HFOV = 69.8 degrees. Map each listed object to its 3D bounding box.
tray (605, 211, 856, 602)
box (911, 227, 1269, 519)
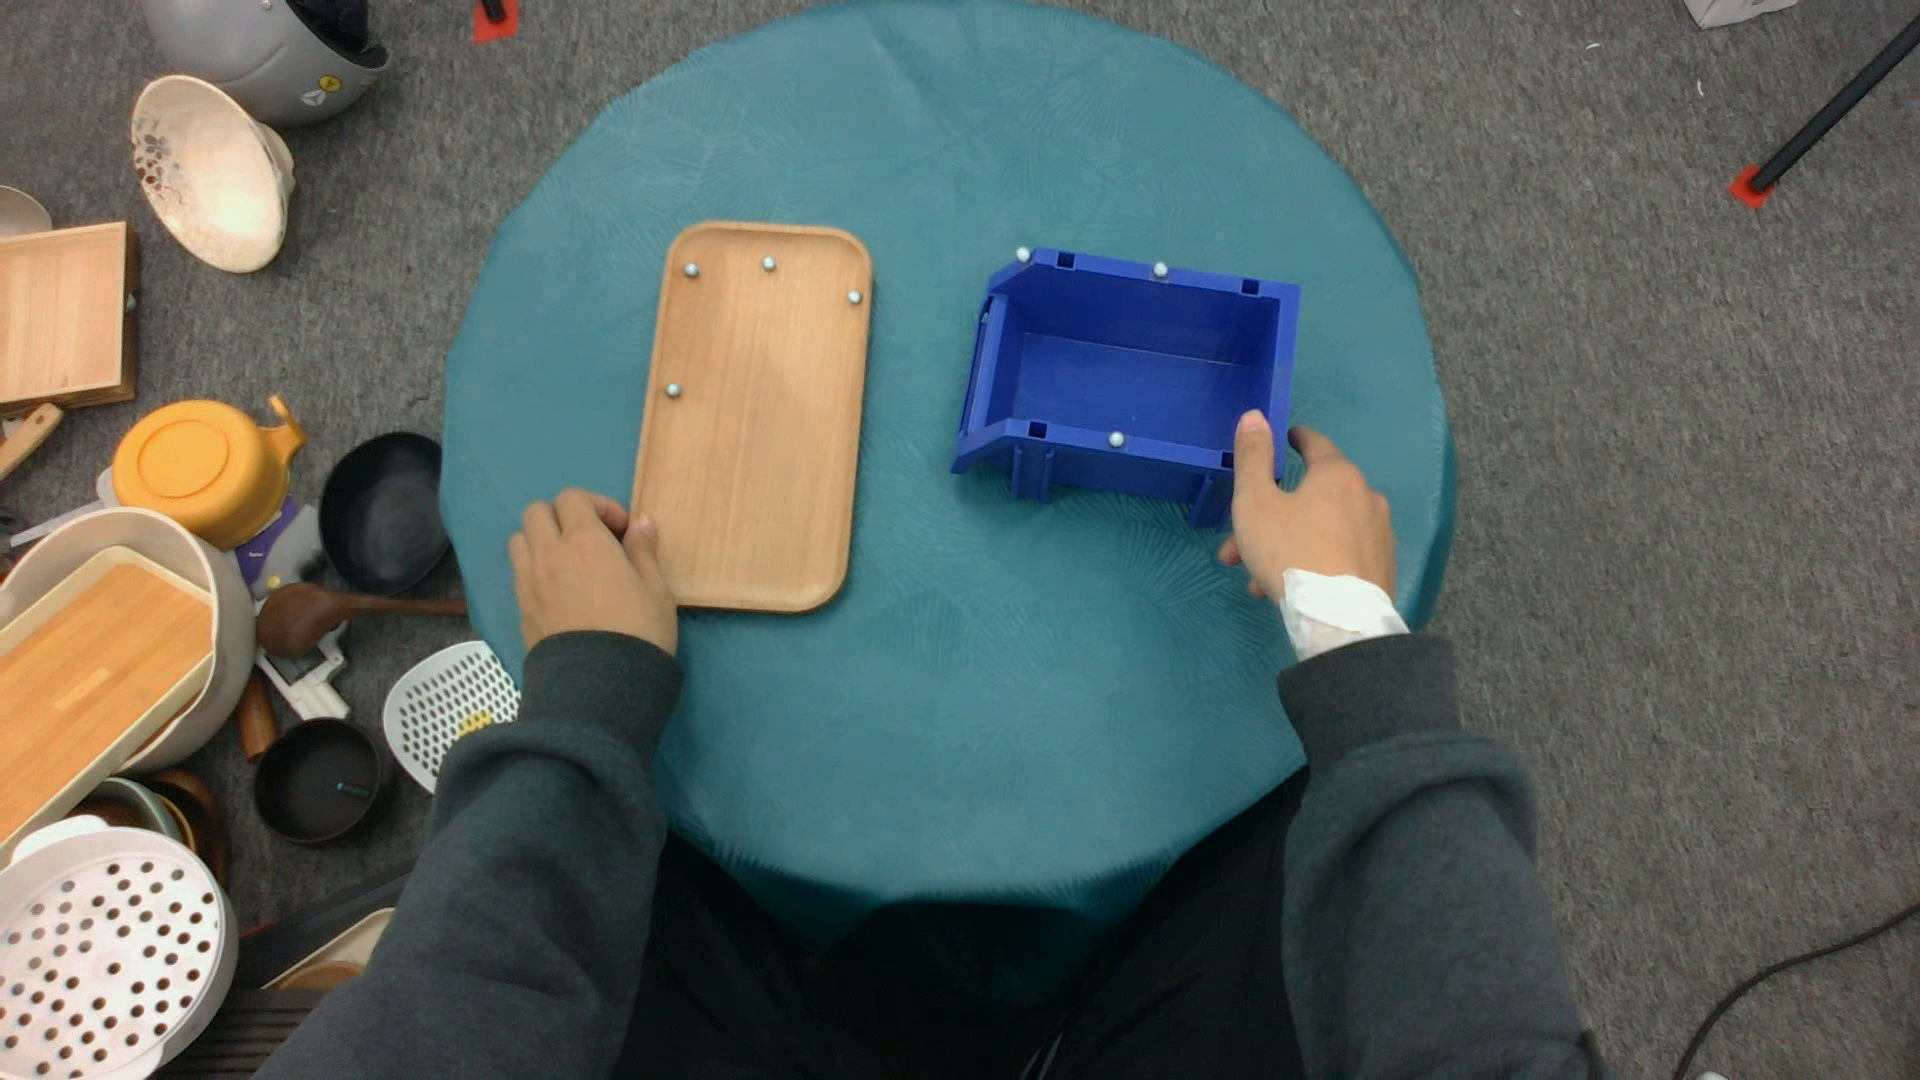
[{"bbox_3d":[-0.131,-0.083,0.813,0.130,0.023,0.251,2,70,2],"label":"tray"},{"bbox_3d":[0.072,-0.095,0.789,0.179,0.081,0.125,12,70,0],"label":"box"}]
